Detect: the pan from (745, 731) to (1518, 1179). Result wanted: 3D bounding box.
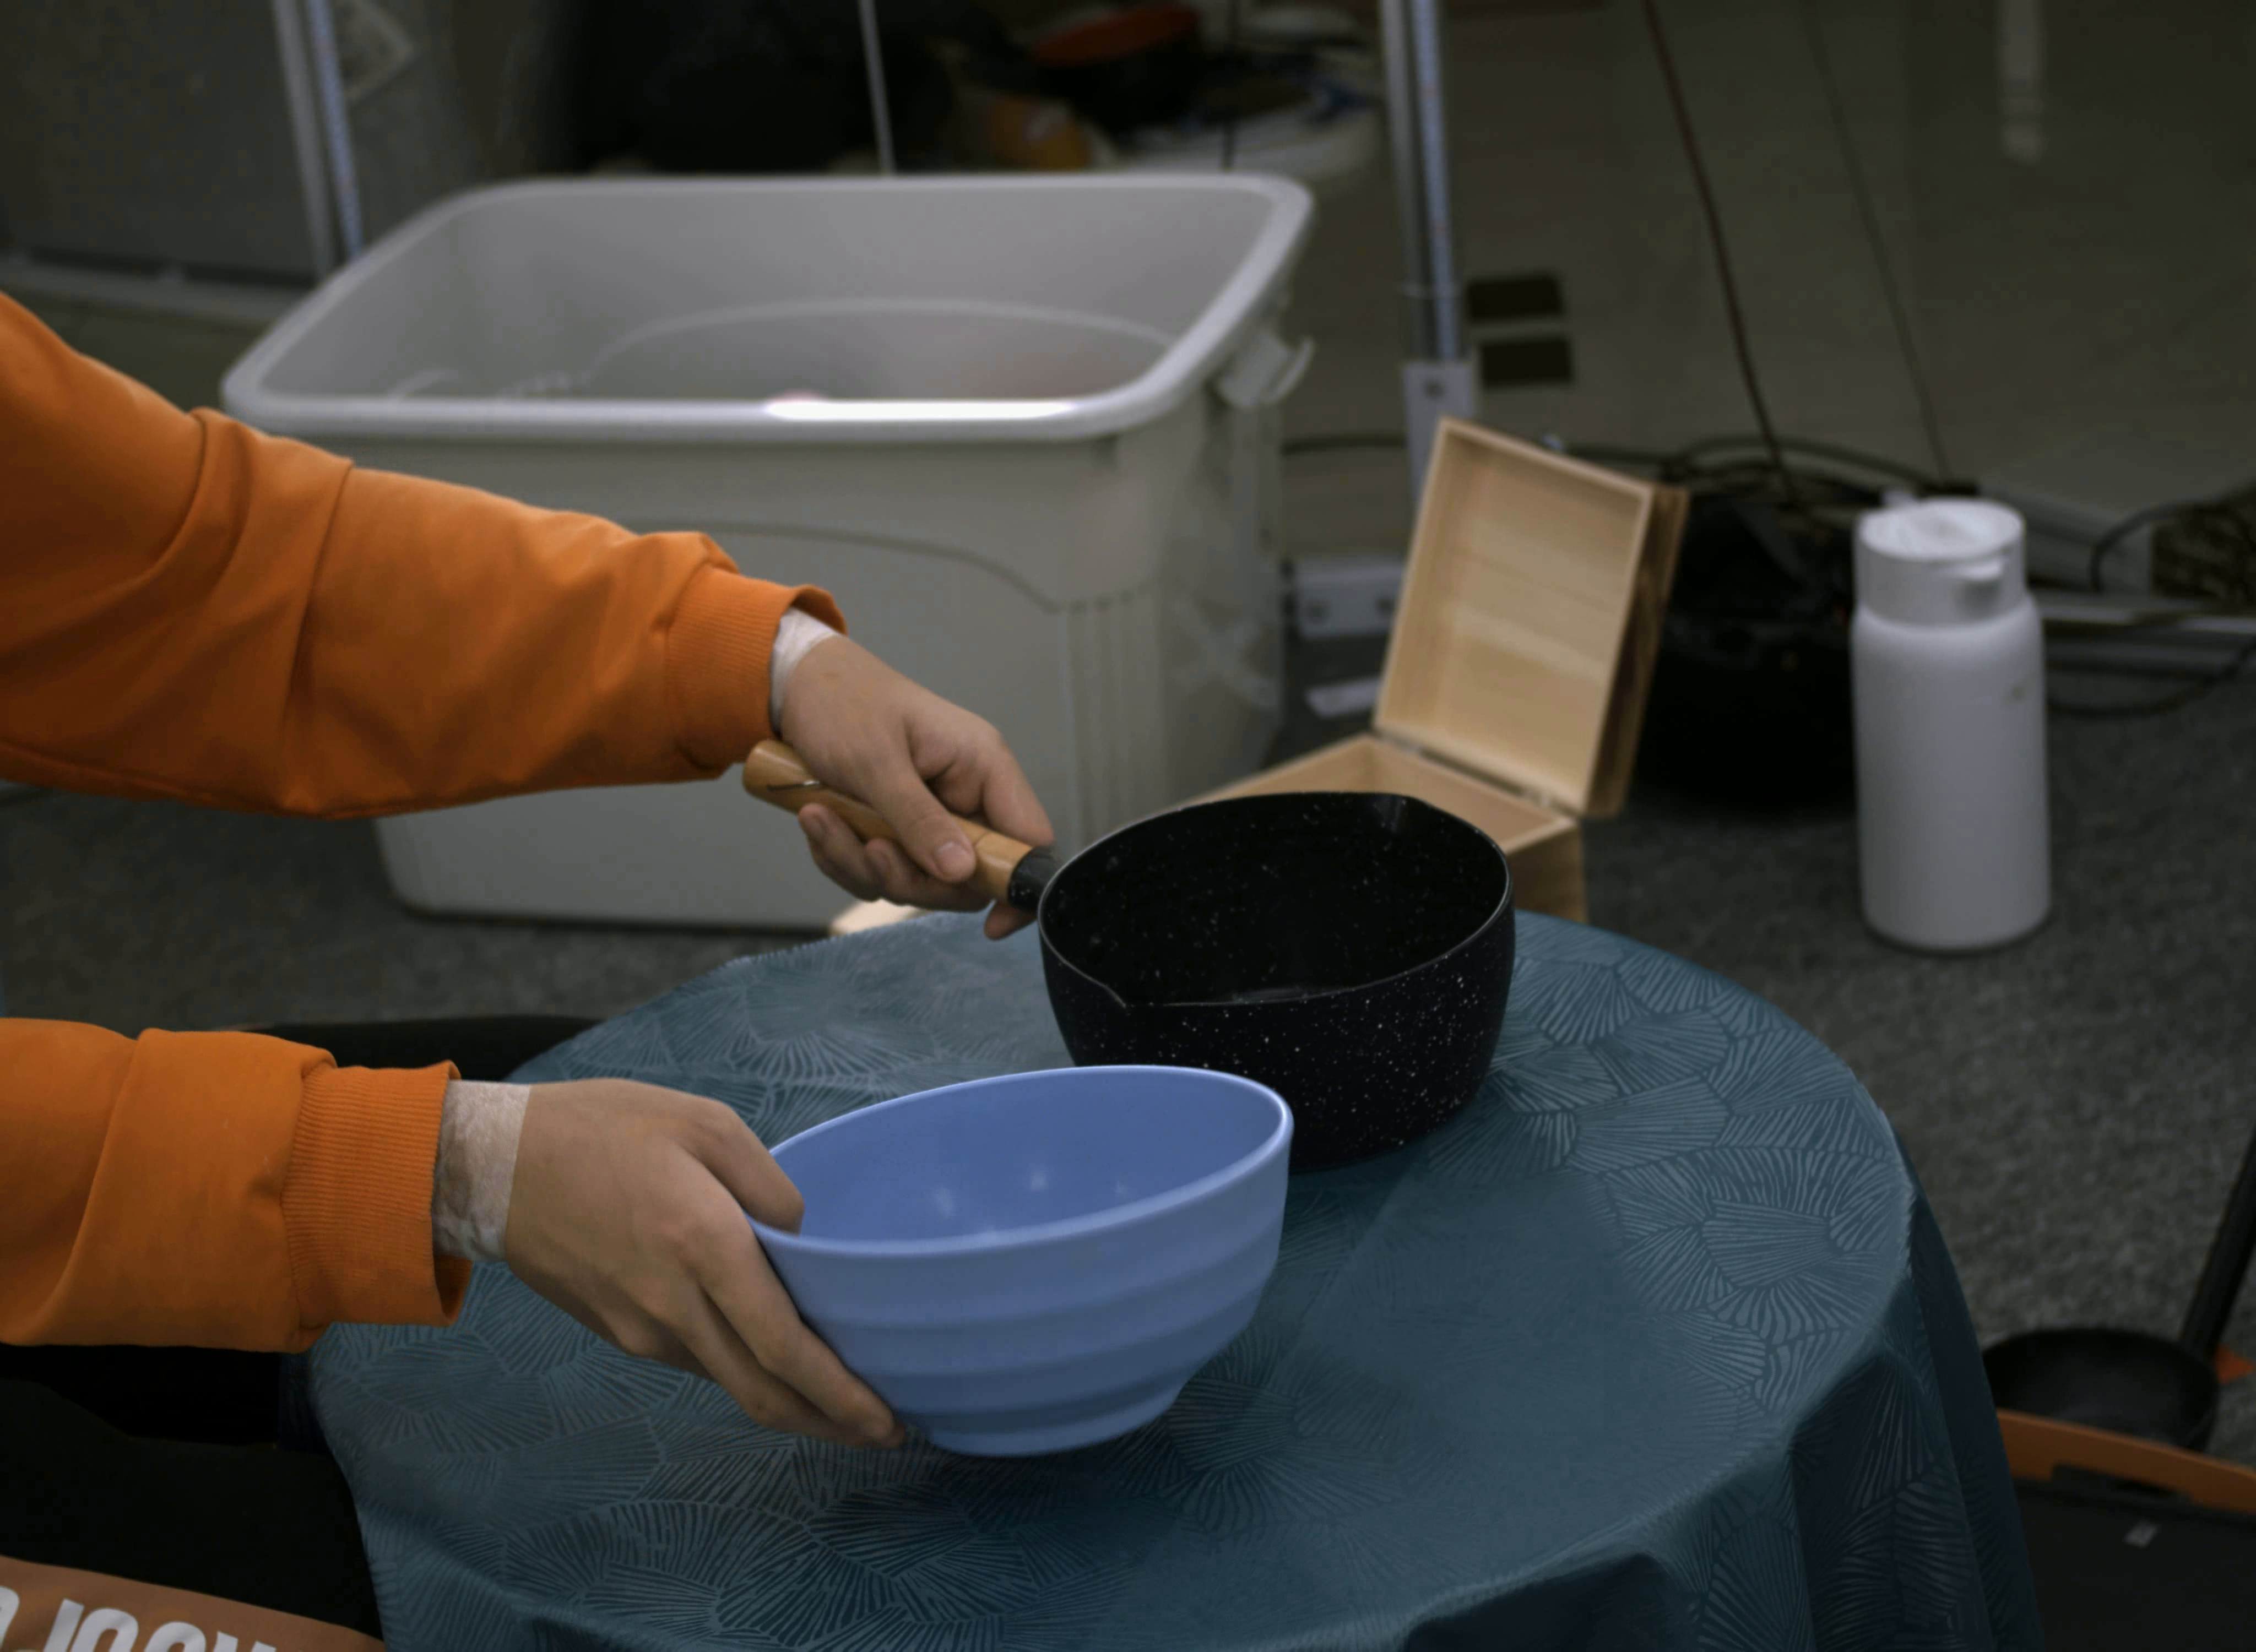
[{"bbox_3d":[-0.007,0.041,2.227,0.341,0.110,0.205,11,32,30],"label":"pan"}]

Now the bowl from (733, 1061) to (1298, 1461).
[{"bbox_3d":[-0.034,0.158,1.966,0.196,0.096,0.194,-6,17,2],"label":"bowl"}]
